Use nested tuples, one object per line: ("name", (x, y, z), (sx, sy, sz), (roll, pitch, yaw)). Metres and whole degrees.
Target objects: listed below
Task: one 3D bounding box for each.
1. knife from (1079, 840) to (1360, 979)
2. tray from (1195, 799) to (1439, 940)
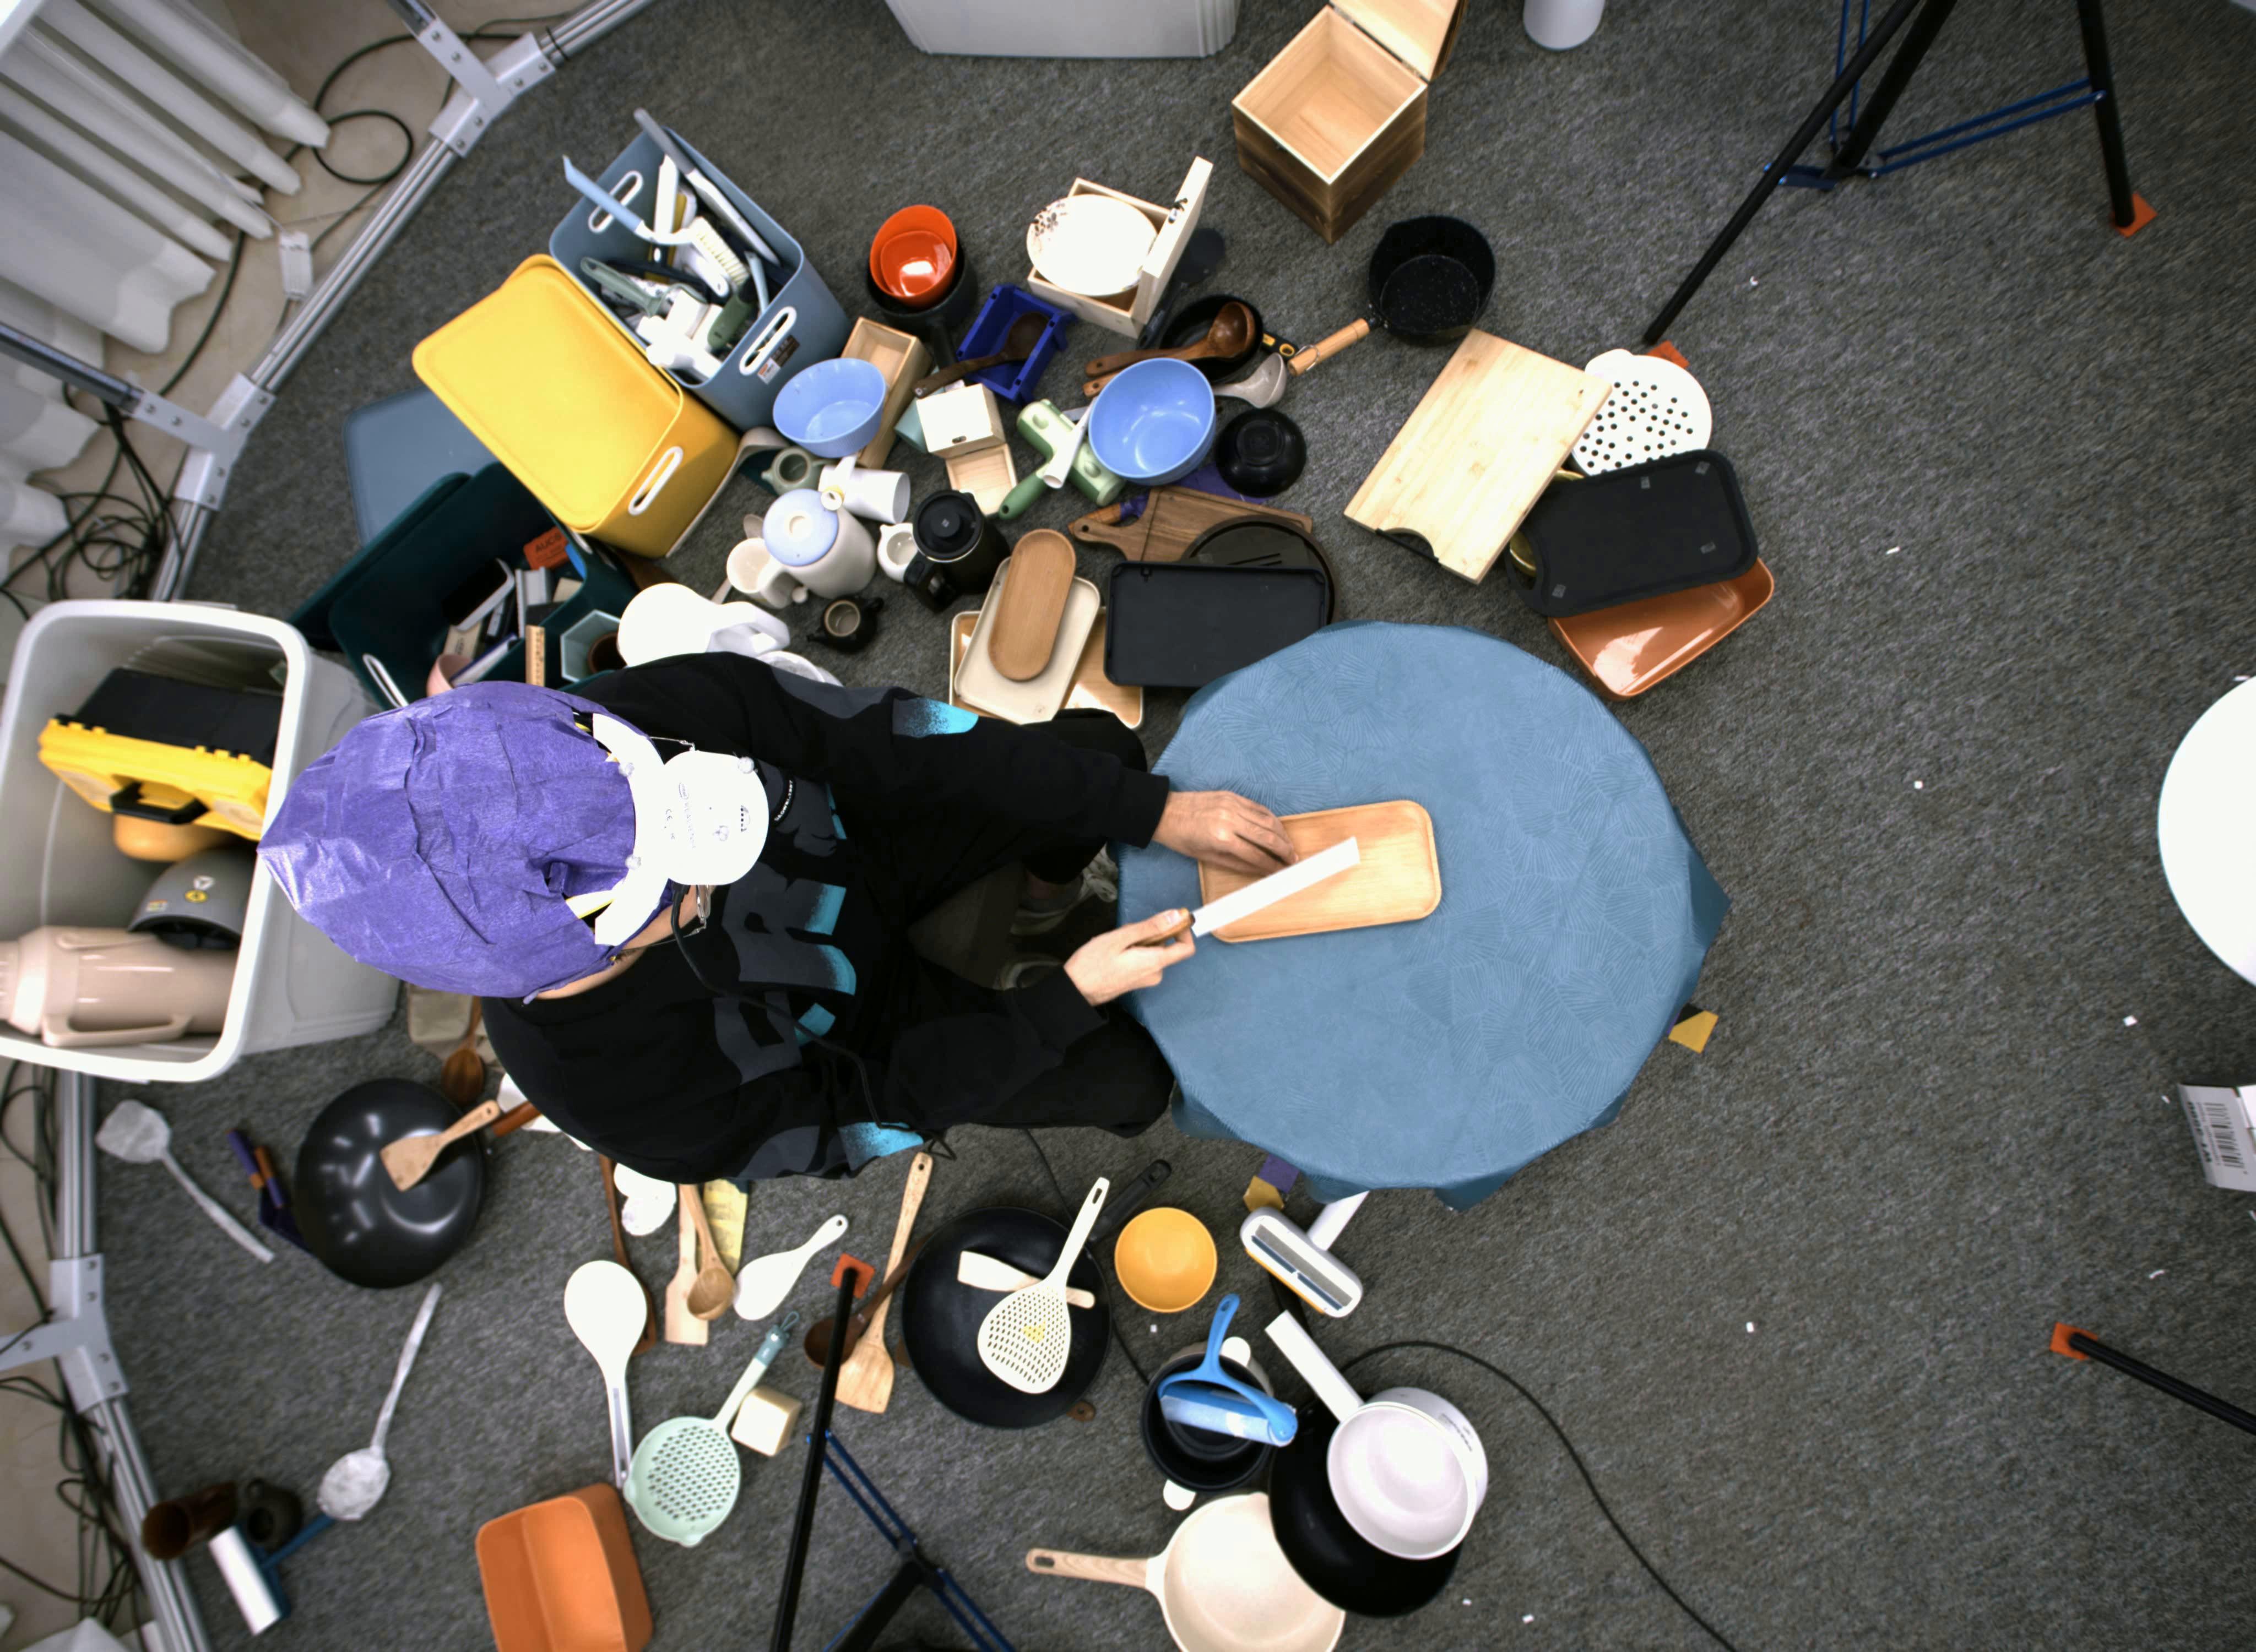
("knife", (0.097, 0.089, 1.420), (0.307, 0.094, 0.020), (-25, 69, 6))
("tray", (0.199, 0.046, 1.466), (0.252, 0.023, 0.129), (-6, 84, 11))
